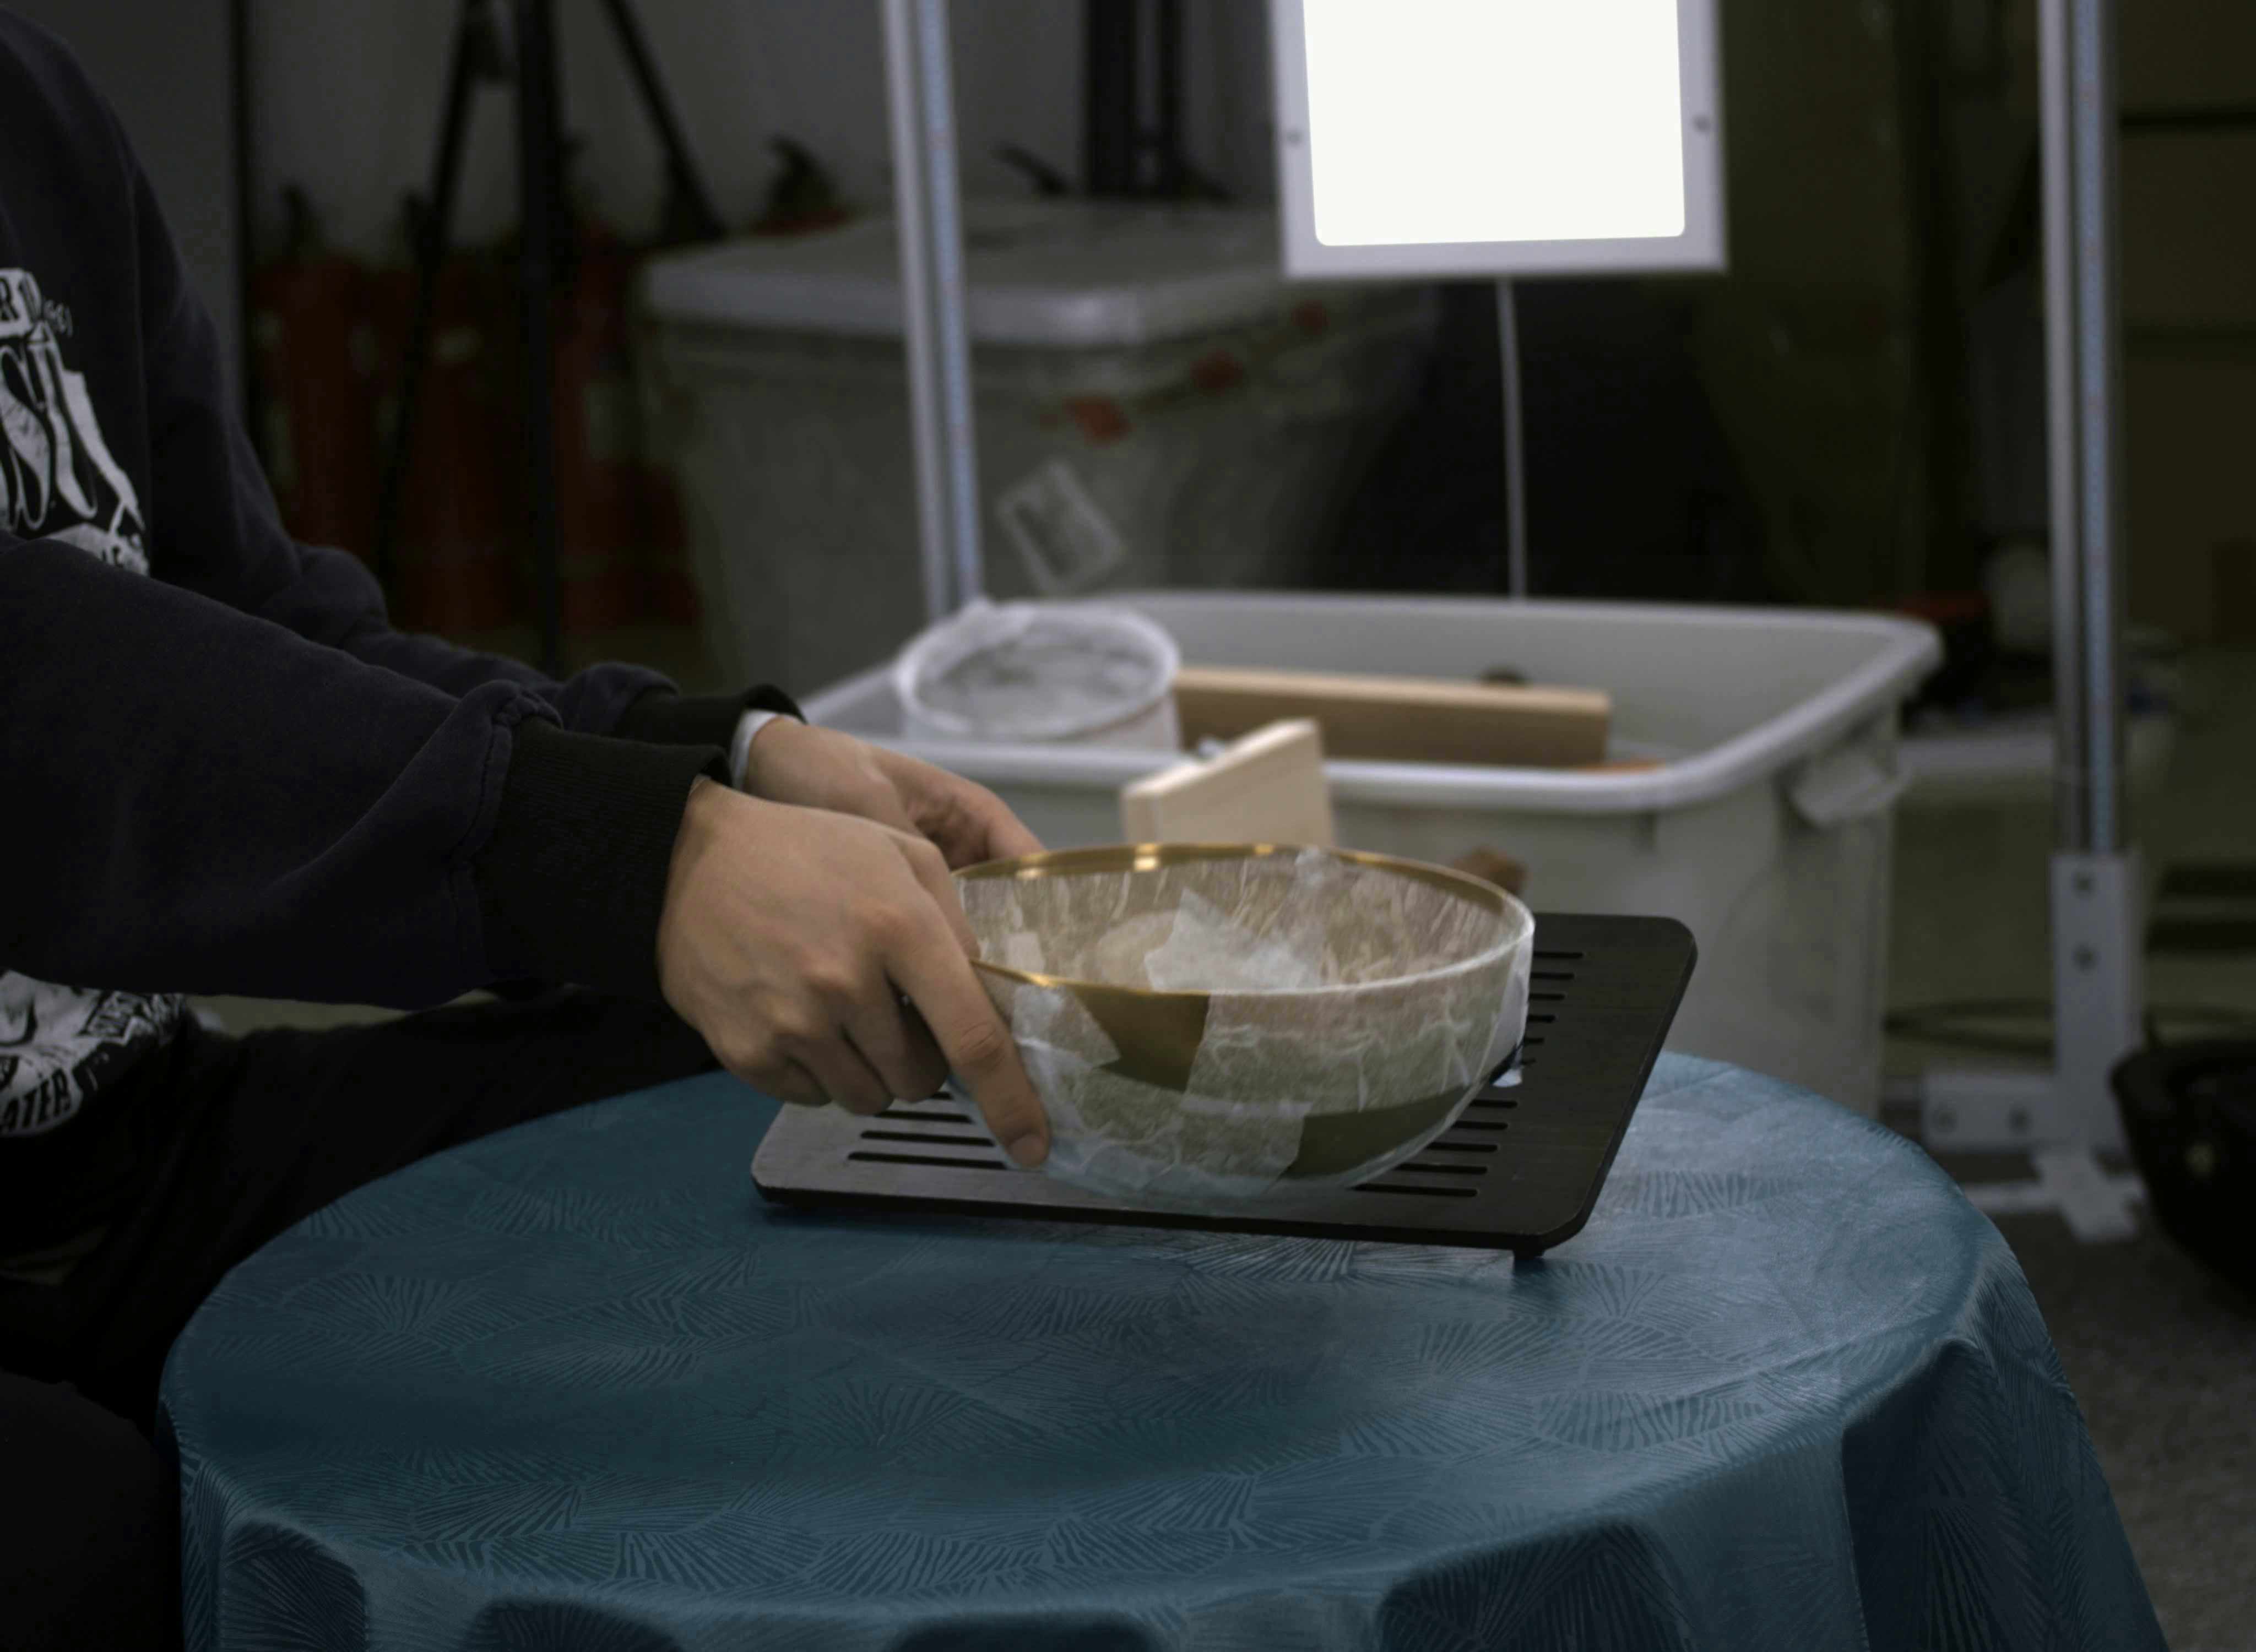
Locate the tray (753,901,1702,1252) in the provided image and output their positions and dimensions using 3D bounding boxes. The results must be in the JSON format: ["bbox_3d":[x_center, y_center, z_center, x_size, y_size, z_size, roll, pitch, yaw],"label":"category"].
[{"bbox_3d":[0.035,0.083,1.903,0.311,0.018,0.167,1,38,25],"label":"tray"}]

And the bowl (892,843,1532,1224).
[{"bbox_3d":[0.024,0.071,1.740,0.214,0.095,0.214,0,13,-1],"label":"bowl"}]
